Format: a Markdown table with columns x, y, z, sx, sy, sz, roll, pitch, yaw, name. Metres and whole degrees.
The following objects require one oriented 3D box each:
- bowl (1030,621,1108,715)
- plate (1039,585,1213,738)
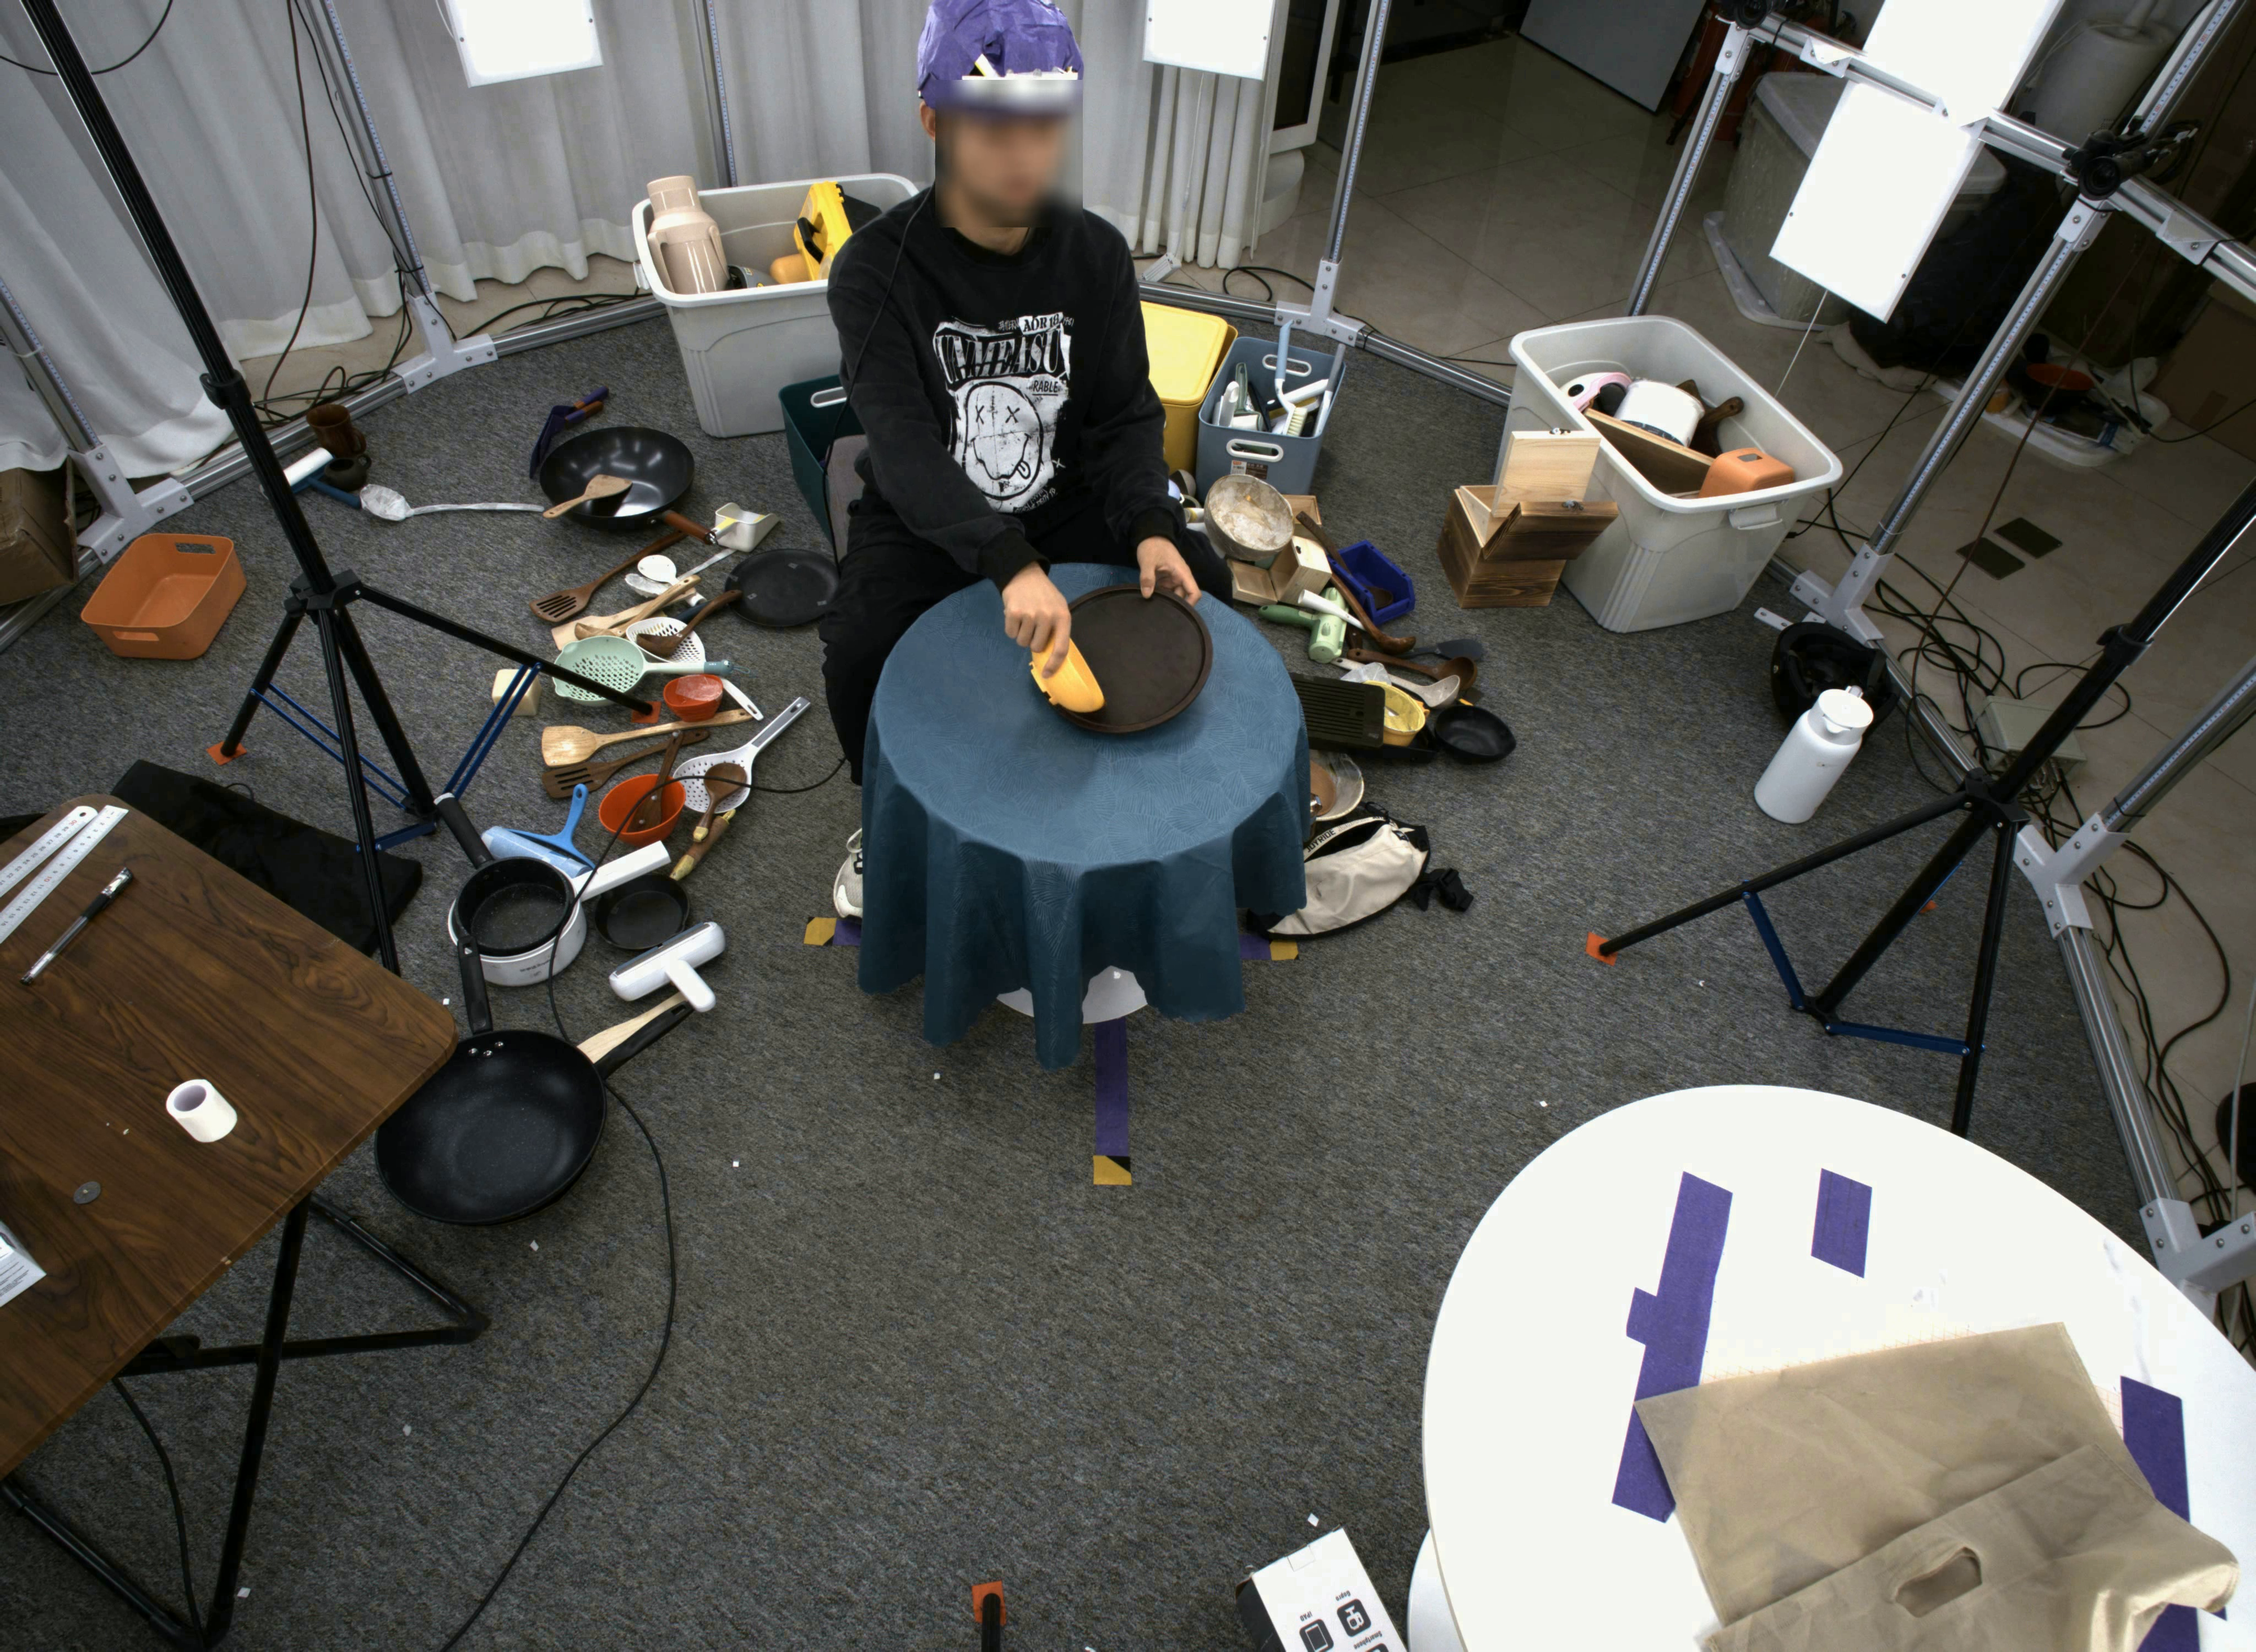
| x | y | z | sx | sy | sz | roll | pitch | yaw | name |
| --- | --- | --- | --- | --- | --- | --- | --- | --- | --- |
| -0.091 | -0.203 | 1.742 | 0.060 | 0.142 | 0.149 | -34 | 54 | 8 | bowl |
| -0.004 | -0.235 | 1.834 | 0.255 | 0.028 | 0.260 | -5 | 61 | 8 | plate |
